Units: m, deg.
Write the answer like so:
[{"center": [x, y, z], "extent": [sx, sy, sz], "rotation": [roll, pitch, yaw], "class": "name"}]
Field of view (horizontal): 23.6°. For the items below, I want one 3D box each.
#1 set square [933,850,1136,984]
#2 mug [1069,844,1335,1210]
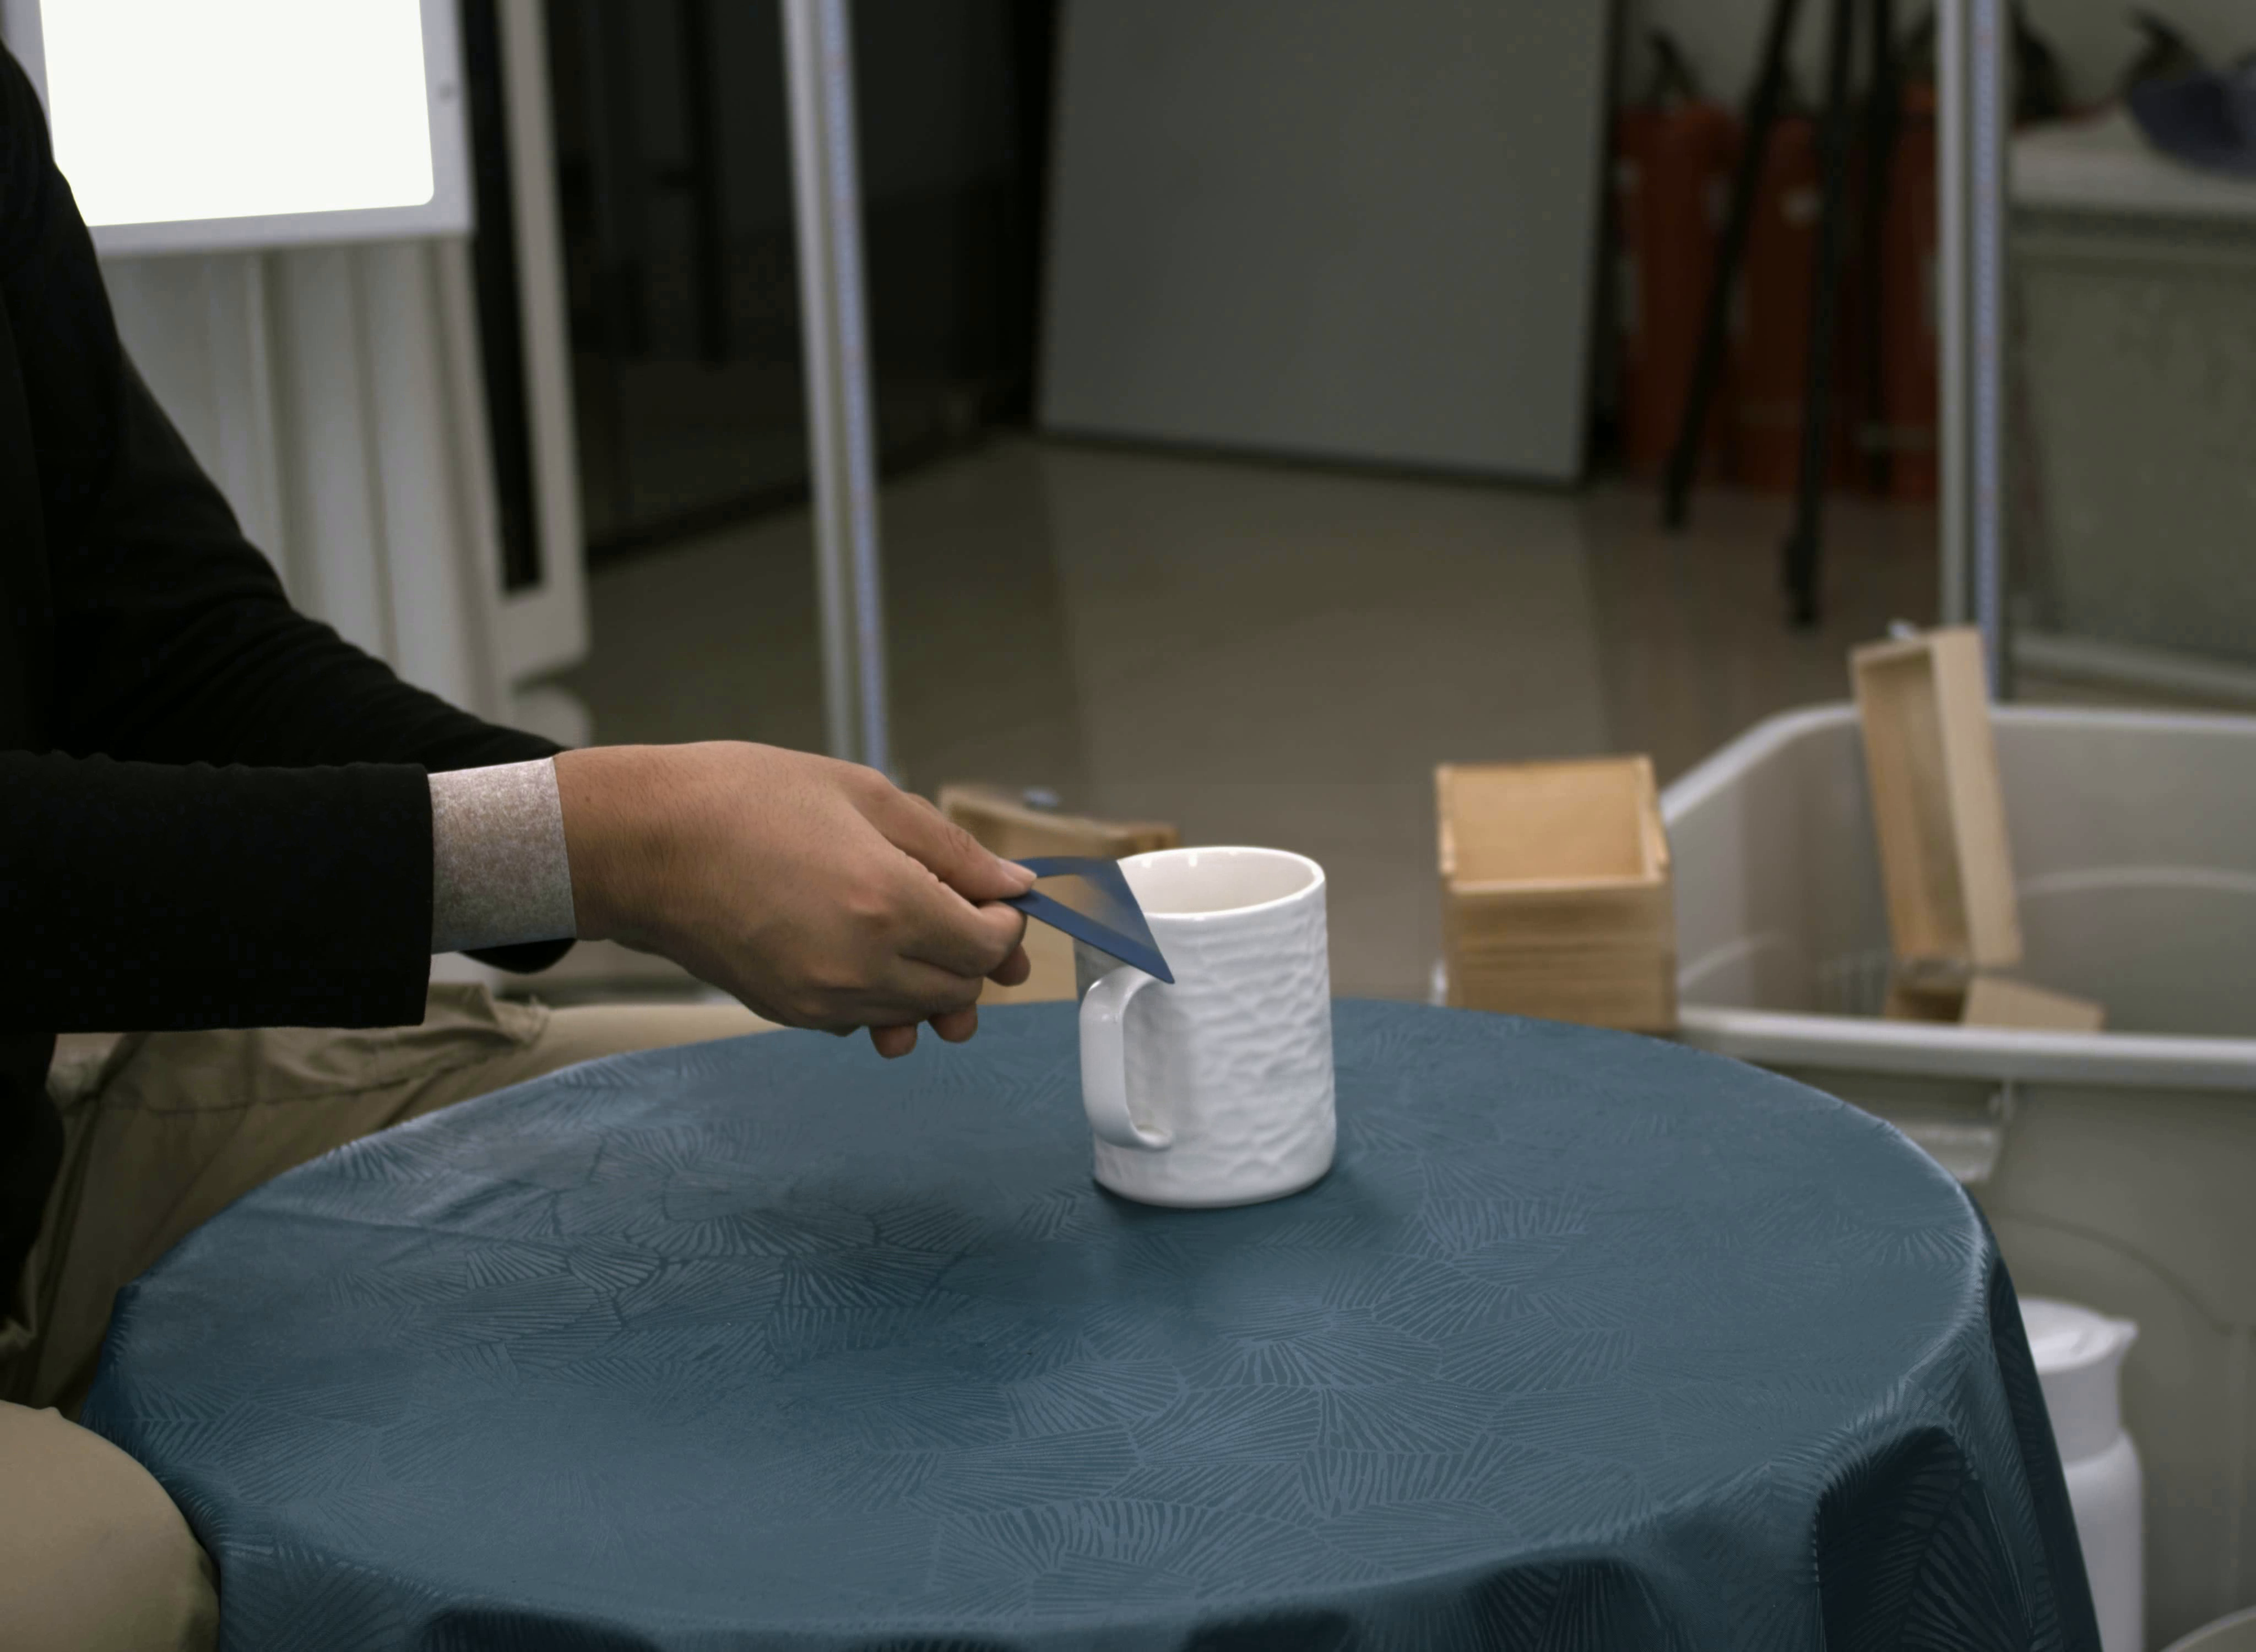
[{"center": [-0.030, 0.026, 1.697], "extent": [0.060, 0.006, 0.132], "rotation": [5, 16, -6], "class": "set square"}, {"center": [0.018, 0.070, 1.758], "extent": [0.085, 0.103, 0.116], "rotation": [4, 15, 28], "class": "mug"}]
